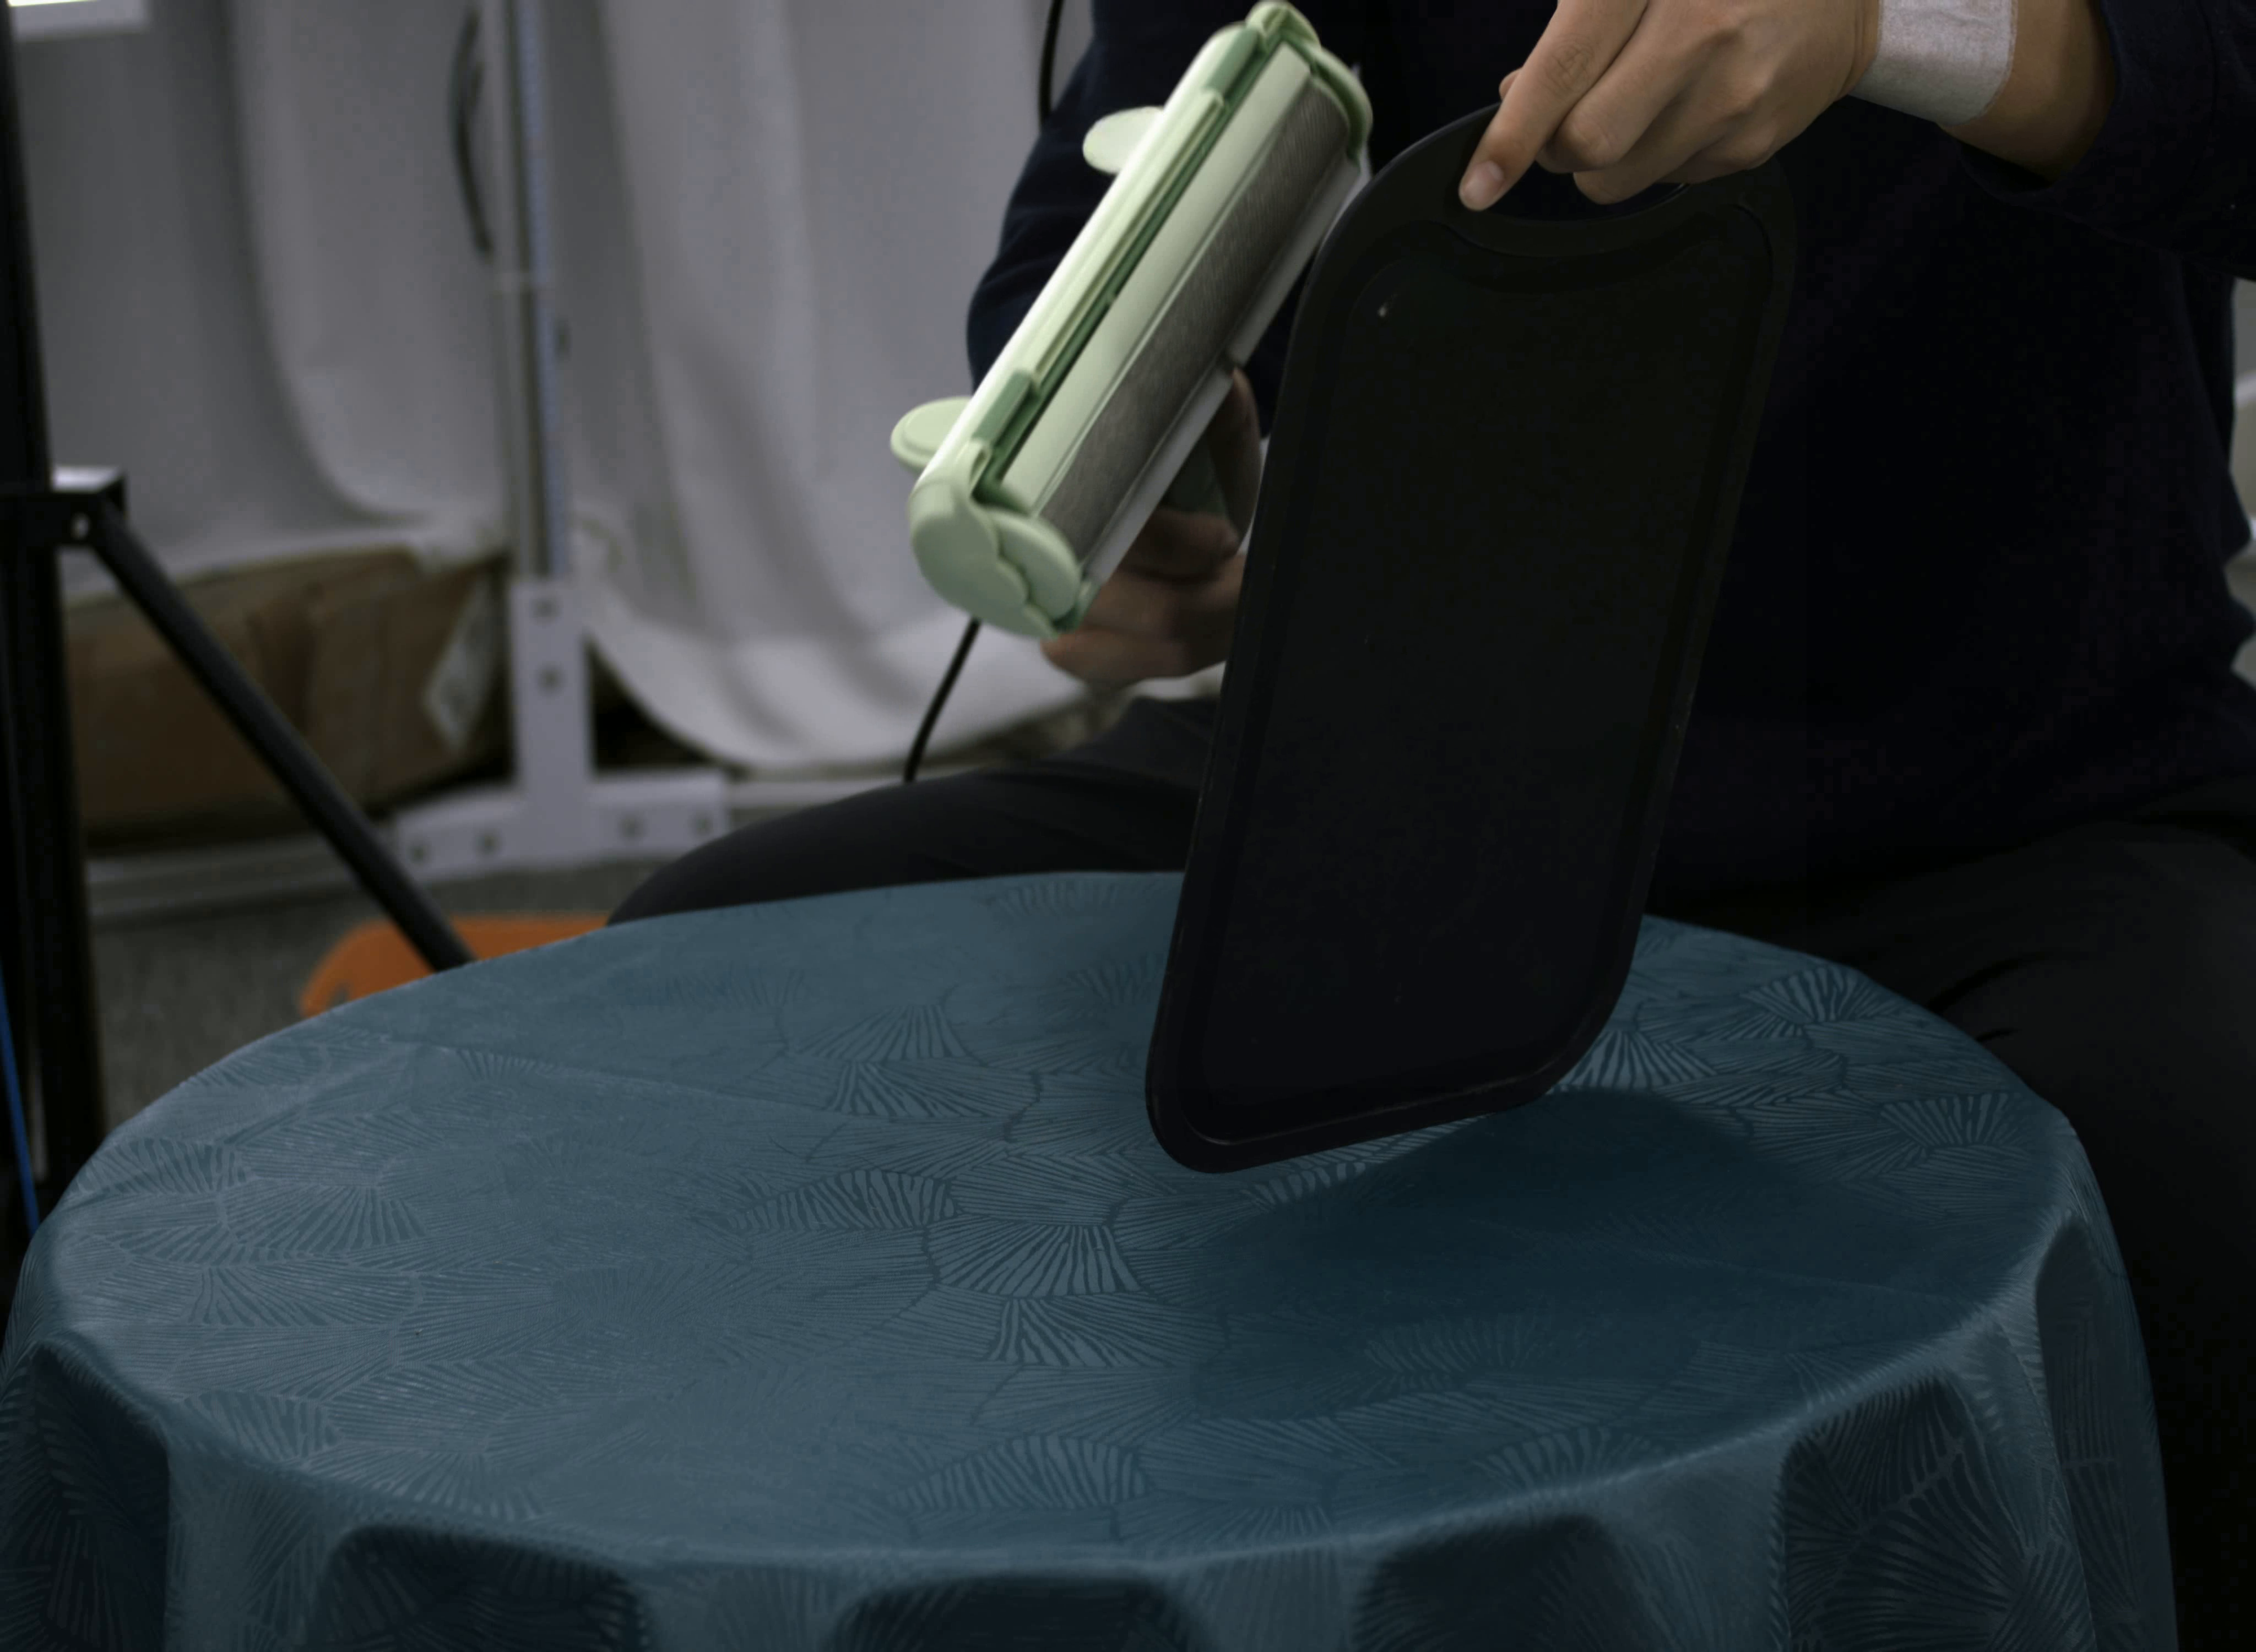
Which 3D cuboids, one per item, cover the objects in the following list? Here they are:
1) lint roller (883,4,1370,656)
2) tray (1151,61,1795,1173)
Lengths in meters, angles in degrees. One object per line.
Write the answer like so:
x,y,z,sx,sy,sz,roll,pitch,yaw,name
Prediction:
-0.009,-0.114,1.521,0.082,0.183,0.198,28,61,9,lint roller
0.102,-0.057,1.516,0.206,0.326,0.010,-7,26,-44,tray
